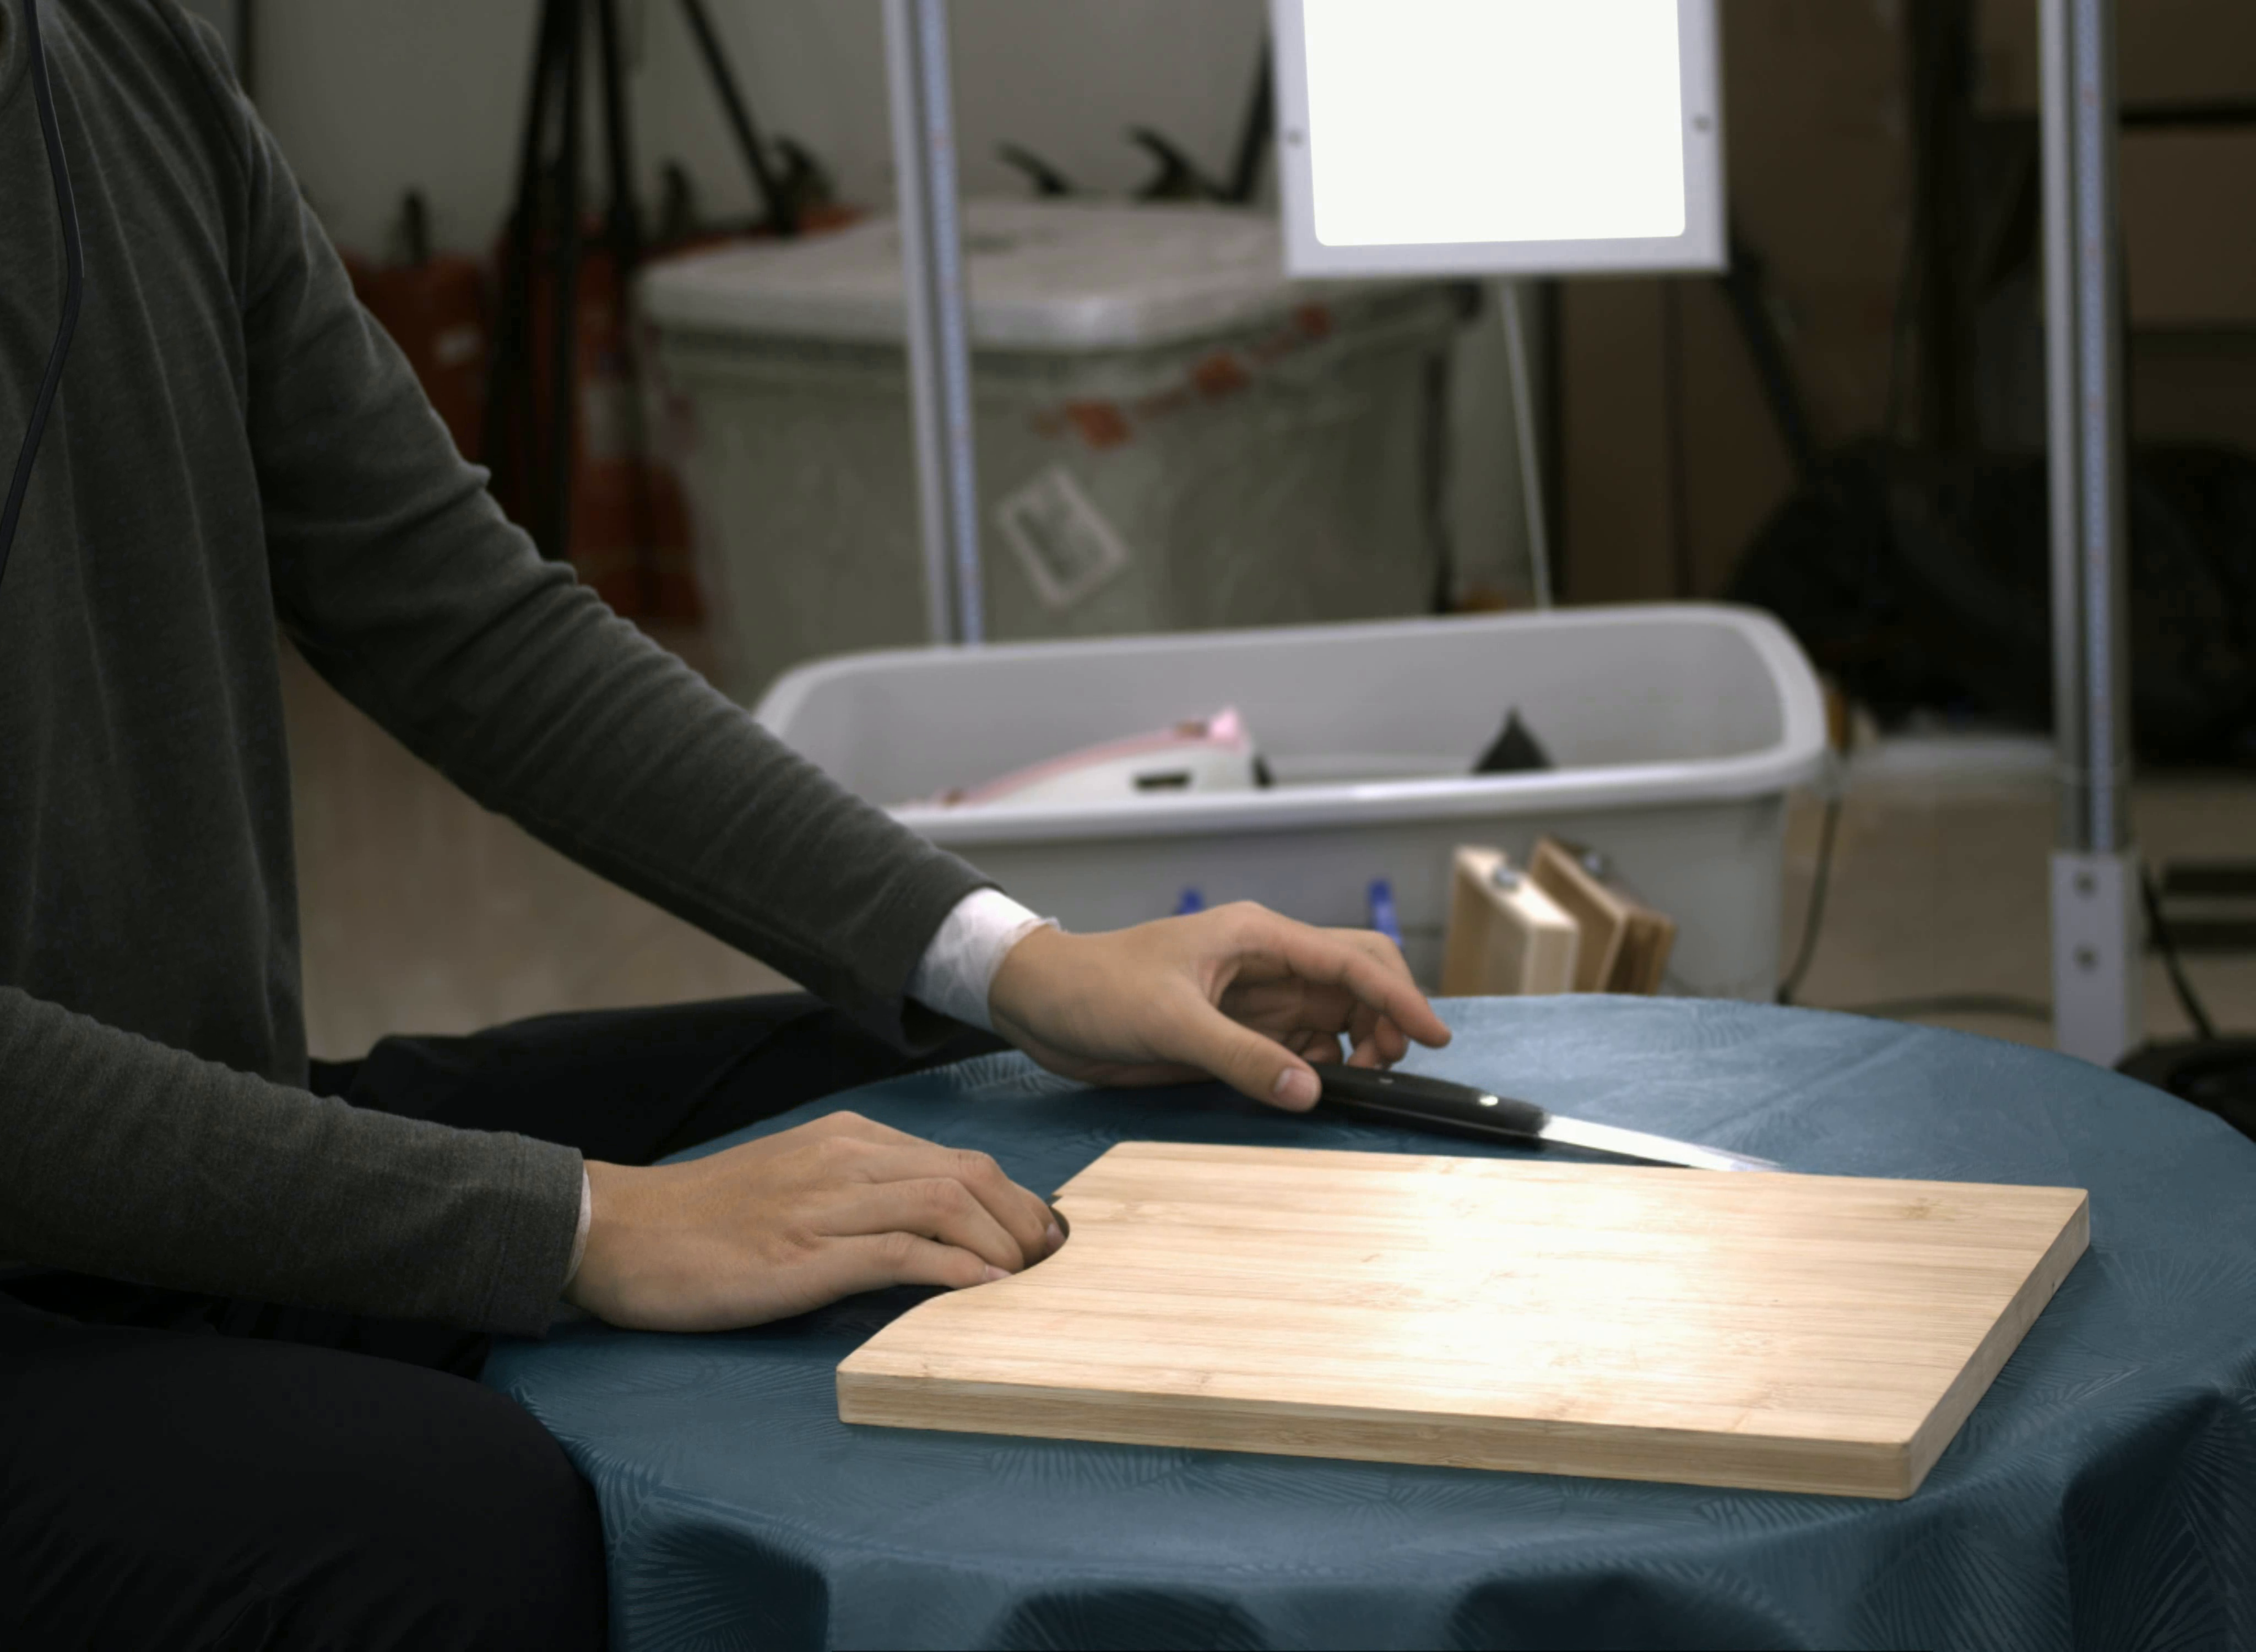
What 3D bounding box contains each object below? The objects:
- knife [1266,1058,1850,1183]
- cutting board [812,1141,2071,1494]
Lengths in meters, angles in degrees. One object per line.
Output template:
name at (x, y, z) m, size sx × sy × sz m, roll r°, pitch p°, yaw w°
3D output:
knife at (0.145, 0.105, 1.913) m, size 0.243 × 0.016 × 0.024 m, roll 8°, pitch 21°, yaw 36°
cutting board at (0.106, 0.151, 1.732) m, size 0.354 × 0.023 × 0.246 m, roll 1°, pitch 14°, yaw 23°
